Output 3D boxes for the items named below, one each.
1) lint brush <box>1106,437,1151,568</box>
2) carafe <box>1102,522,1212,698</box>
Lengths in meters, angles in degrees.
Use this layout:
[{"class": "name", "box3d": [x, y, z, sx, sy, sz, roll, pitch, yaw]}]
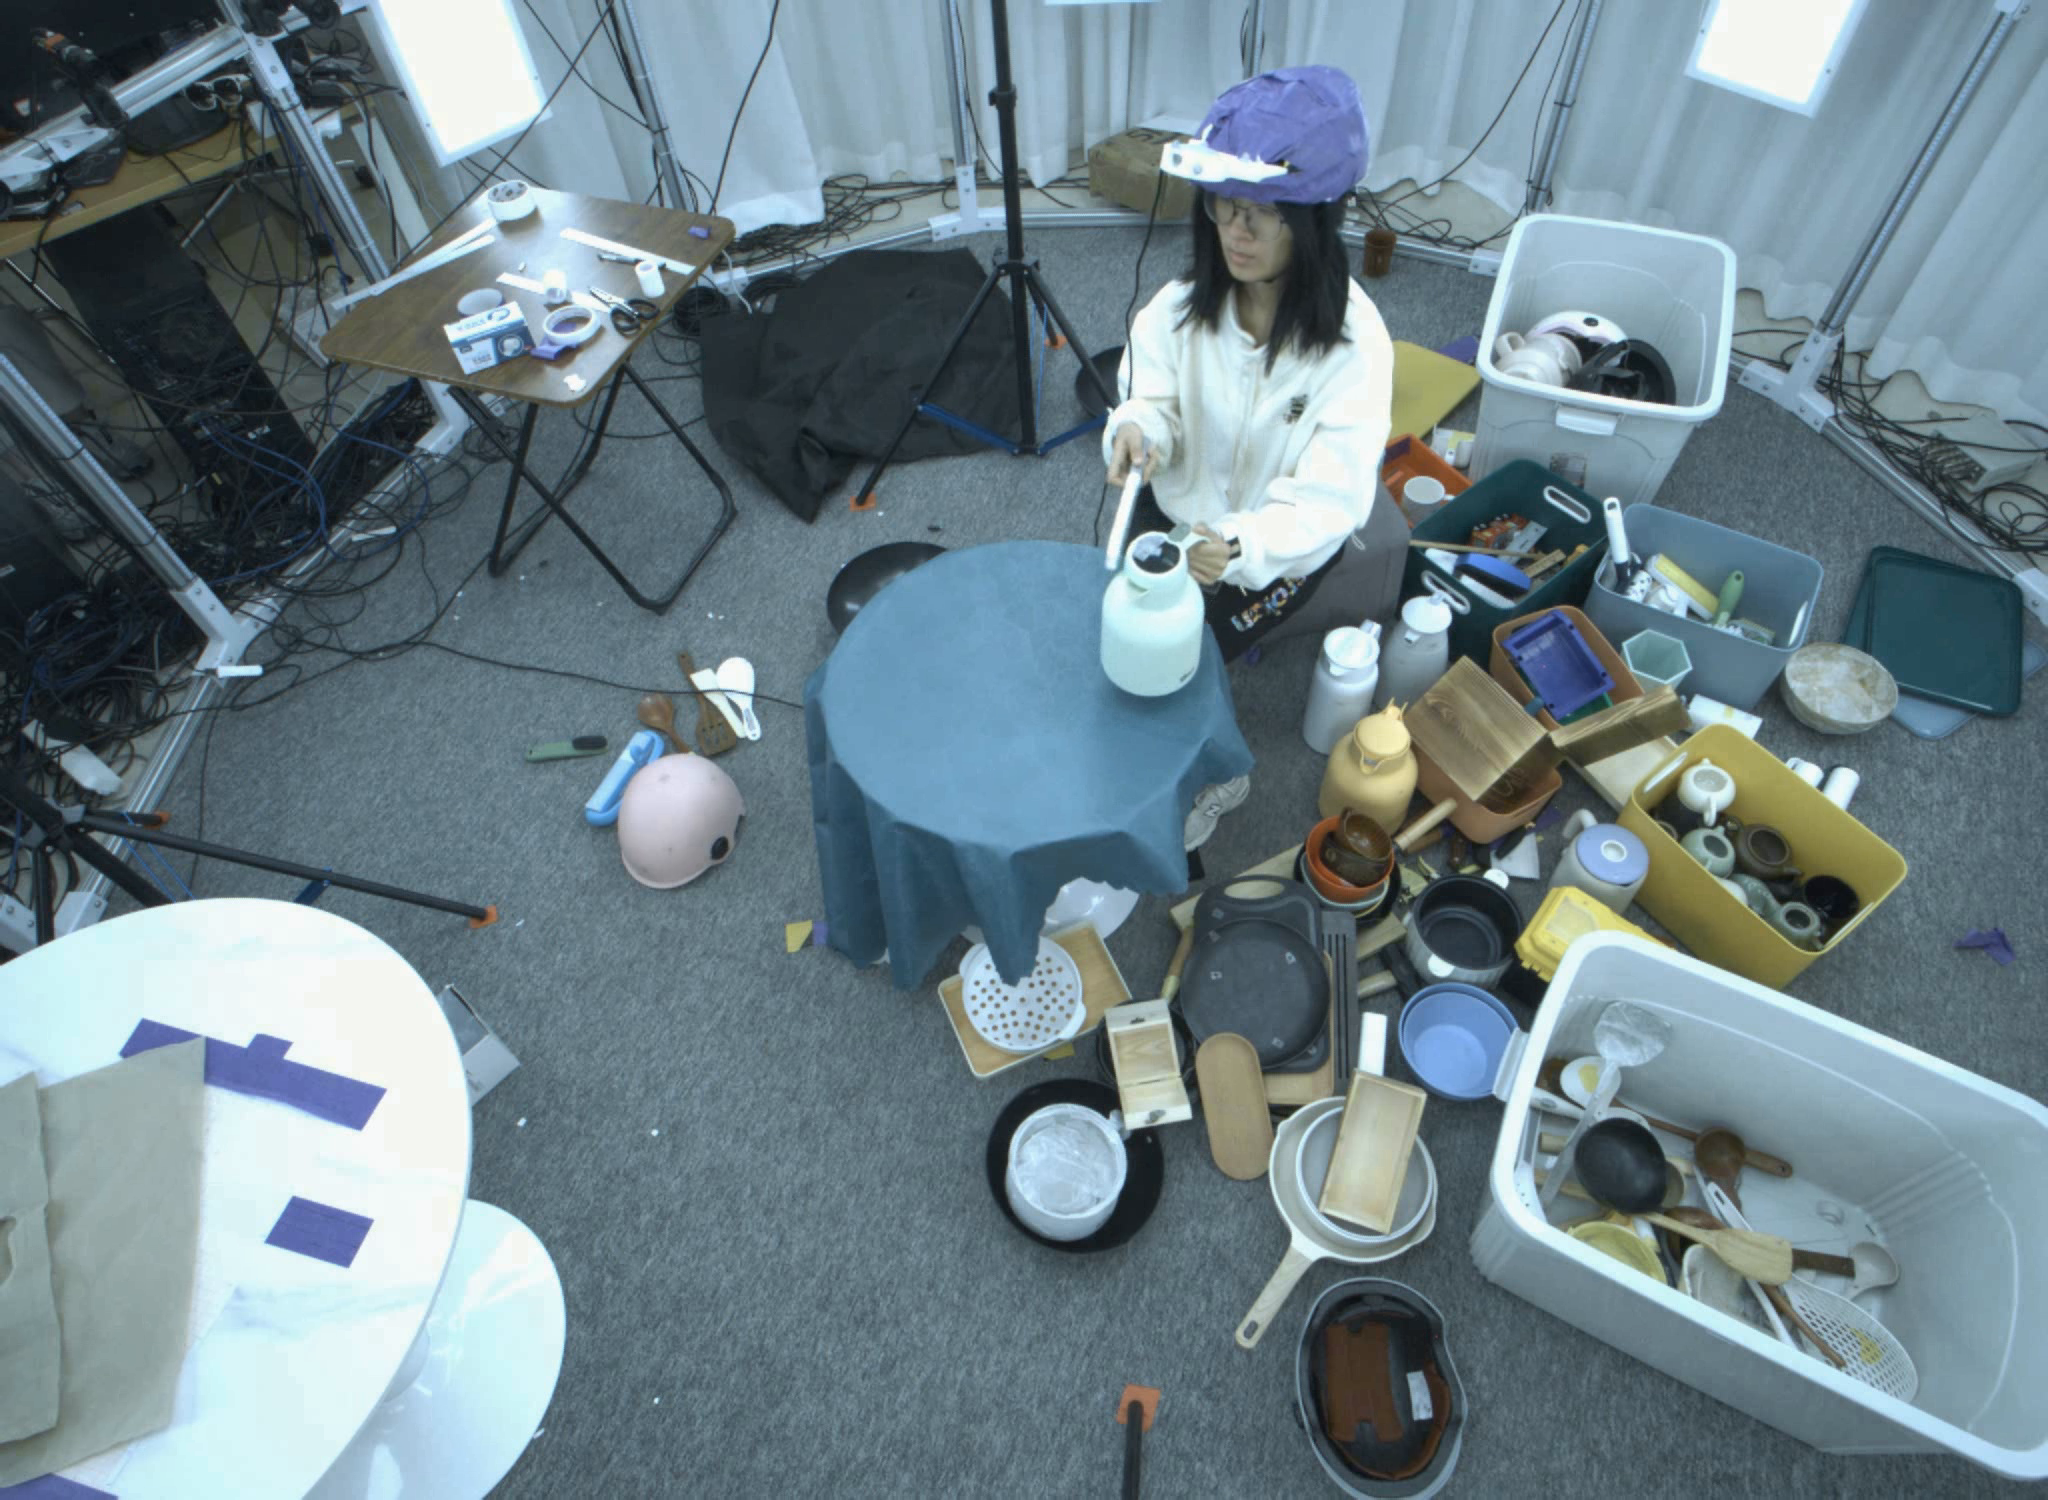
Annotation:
[{"class": "lint brush", "box3d": [0.152, -0.367, 1.761, 0.021, 0.060, 0.307, 11, 48, 5]}, {"class": "carafe", "box3d": [0.190, -0.203, 1.712, 0.142, 0.259, 0.188, 37, 66, 22]}]
